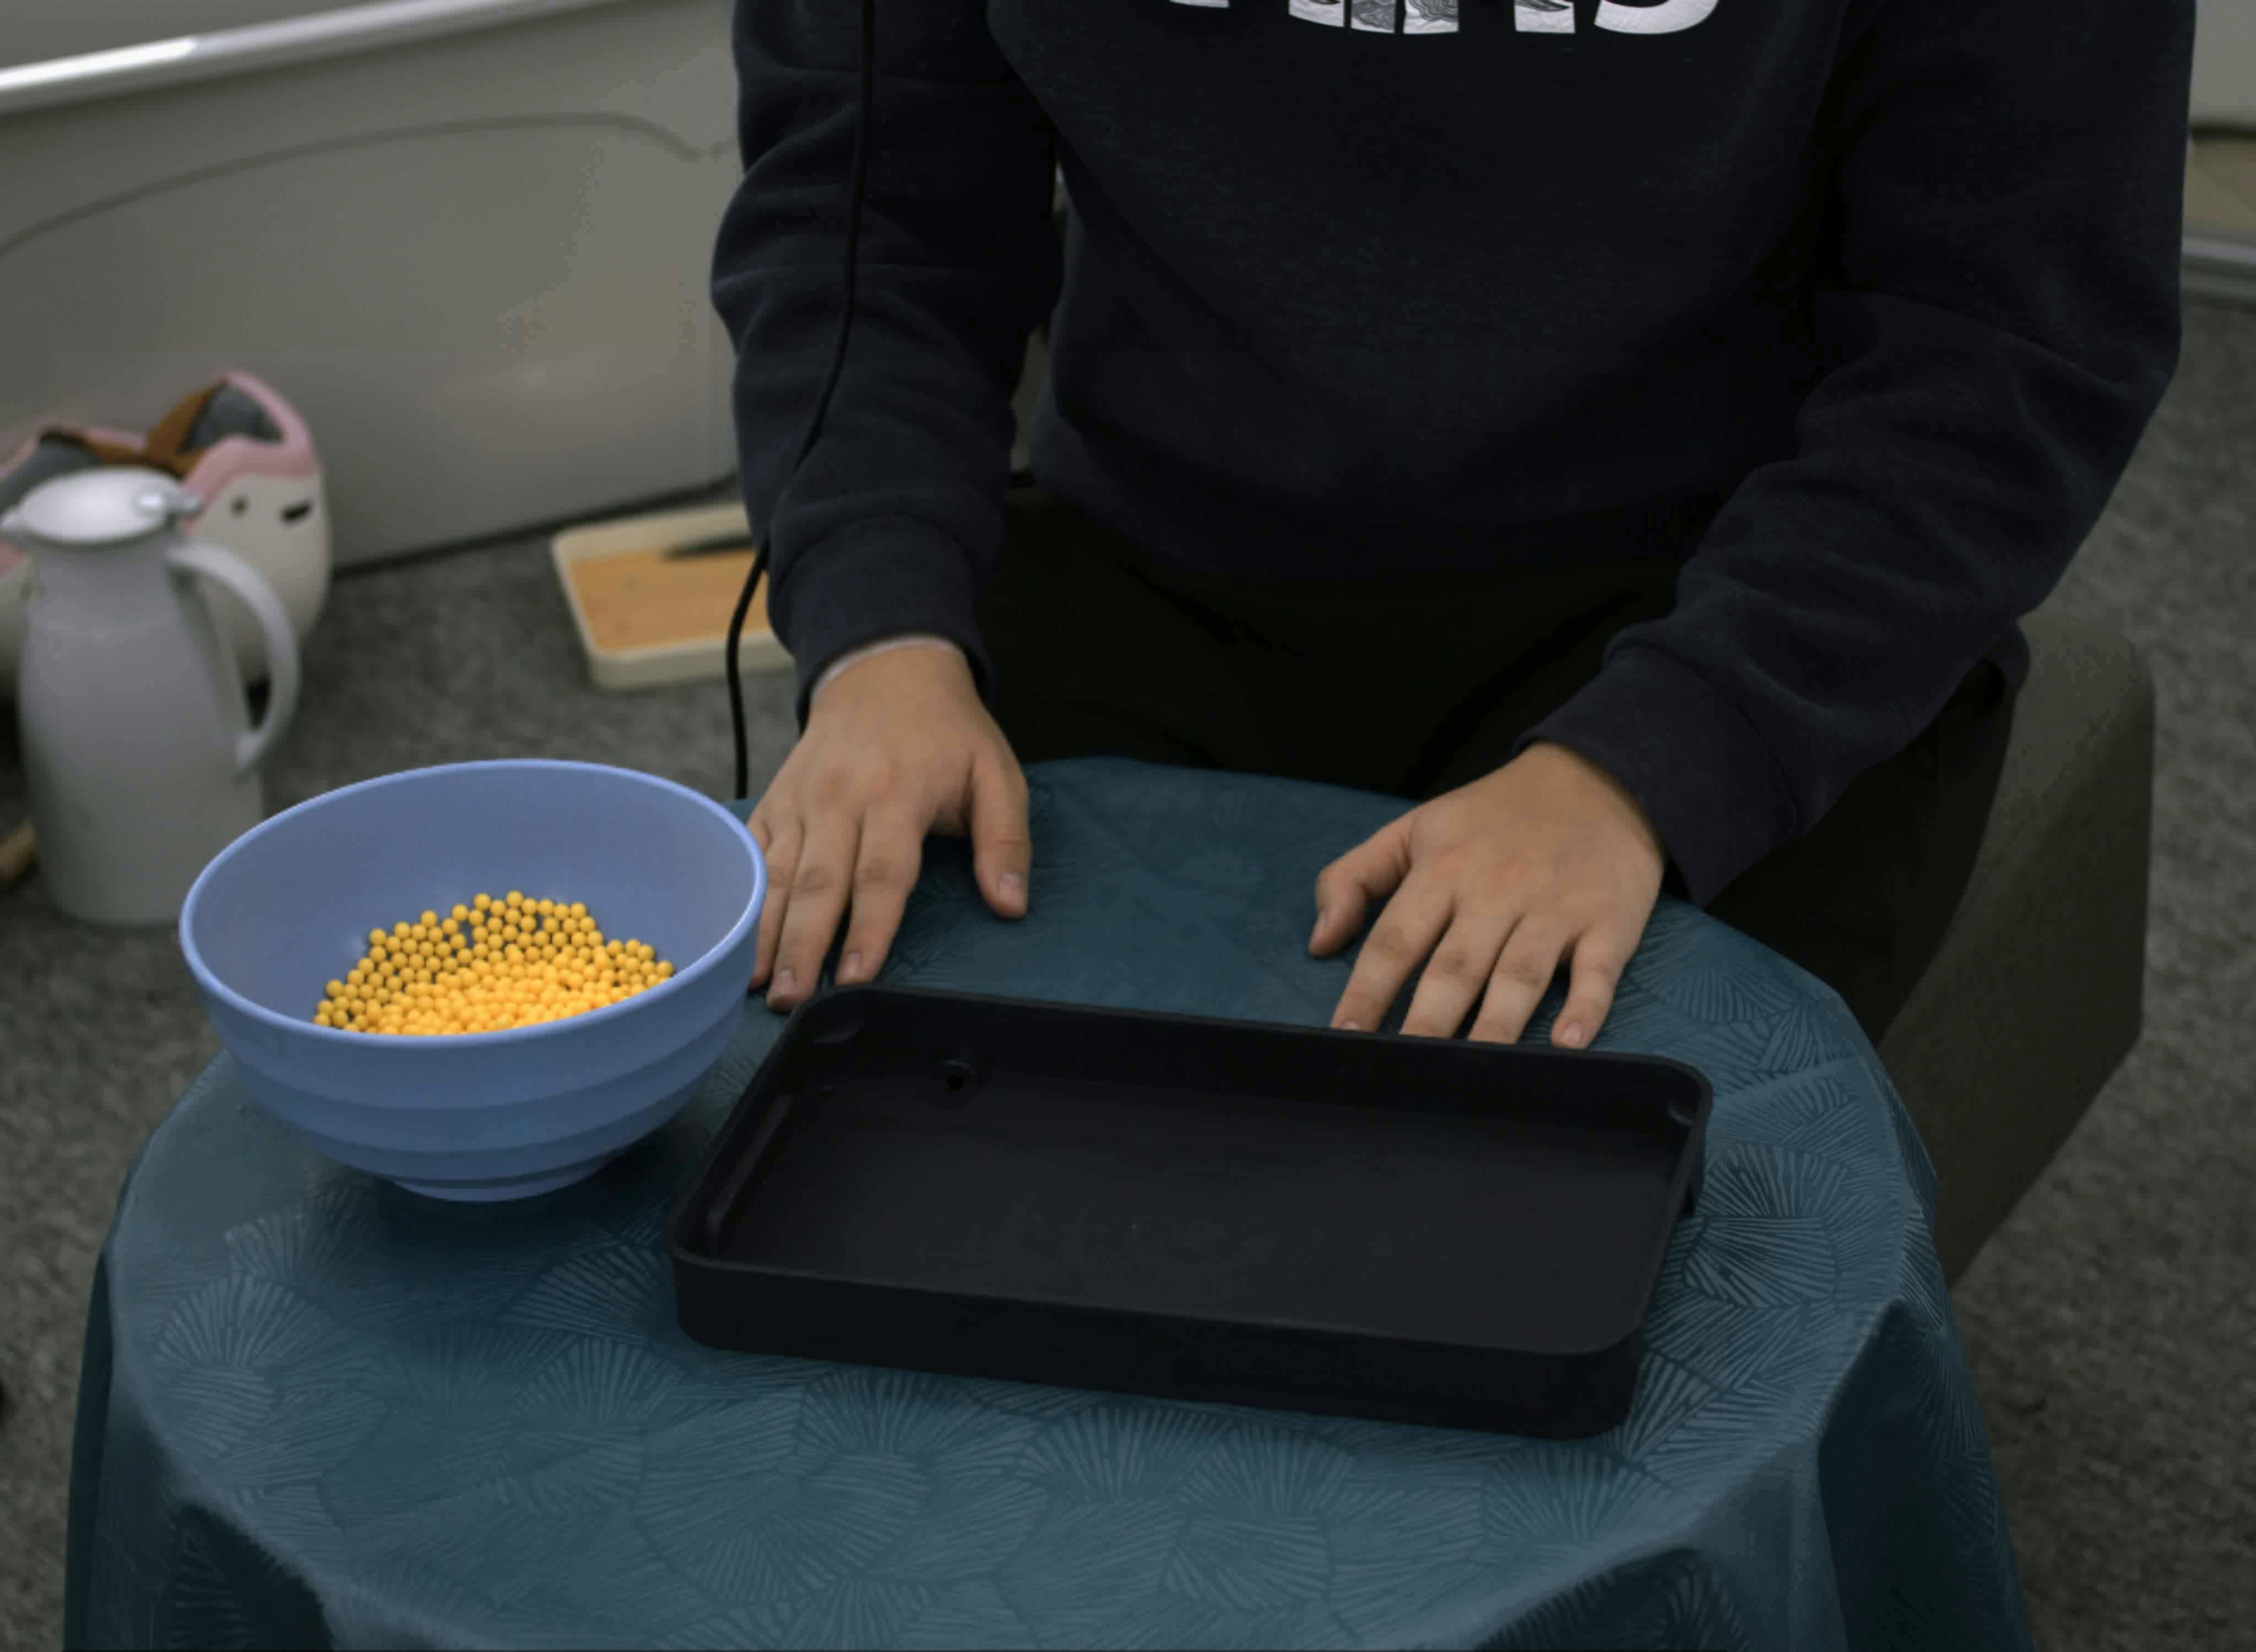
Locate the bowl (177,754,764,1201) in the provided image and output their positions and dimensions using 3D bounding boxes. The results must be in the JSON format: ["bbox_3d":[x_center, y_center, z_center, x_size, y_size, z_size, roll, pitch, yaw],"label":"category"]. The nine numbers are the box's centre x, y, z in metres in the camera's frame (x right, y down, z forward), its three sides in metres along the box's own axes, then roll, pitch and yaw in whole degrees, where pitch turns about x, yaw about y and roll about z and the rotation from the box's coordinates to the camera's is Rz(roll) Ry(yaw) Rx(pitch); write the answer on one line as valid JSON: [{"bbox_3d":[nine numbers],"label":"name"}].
[{"bbox_3d":[-0.216,0.062,1.893,0.195,0.094,0.199,-3,28,2],"label":"bowl"}]

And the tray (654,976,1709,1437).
[{"bbox_3d":[0.020,0.120,1.825,0.316,0.036,0.187,5,28,14],"label":"tray"}]
